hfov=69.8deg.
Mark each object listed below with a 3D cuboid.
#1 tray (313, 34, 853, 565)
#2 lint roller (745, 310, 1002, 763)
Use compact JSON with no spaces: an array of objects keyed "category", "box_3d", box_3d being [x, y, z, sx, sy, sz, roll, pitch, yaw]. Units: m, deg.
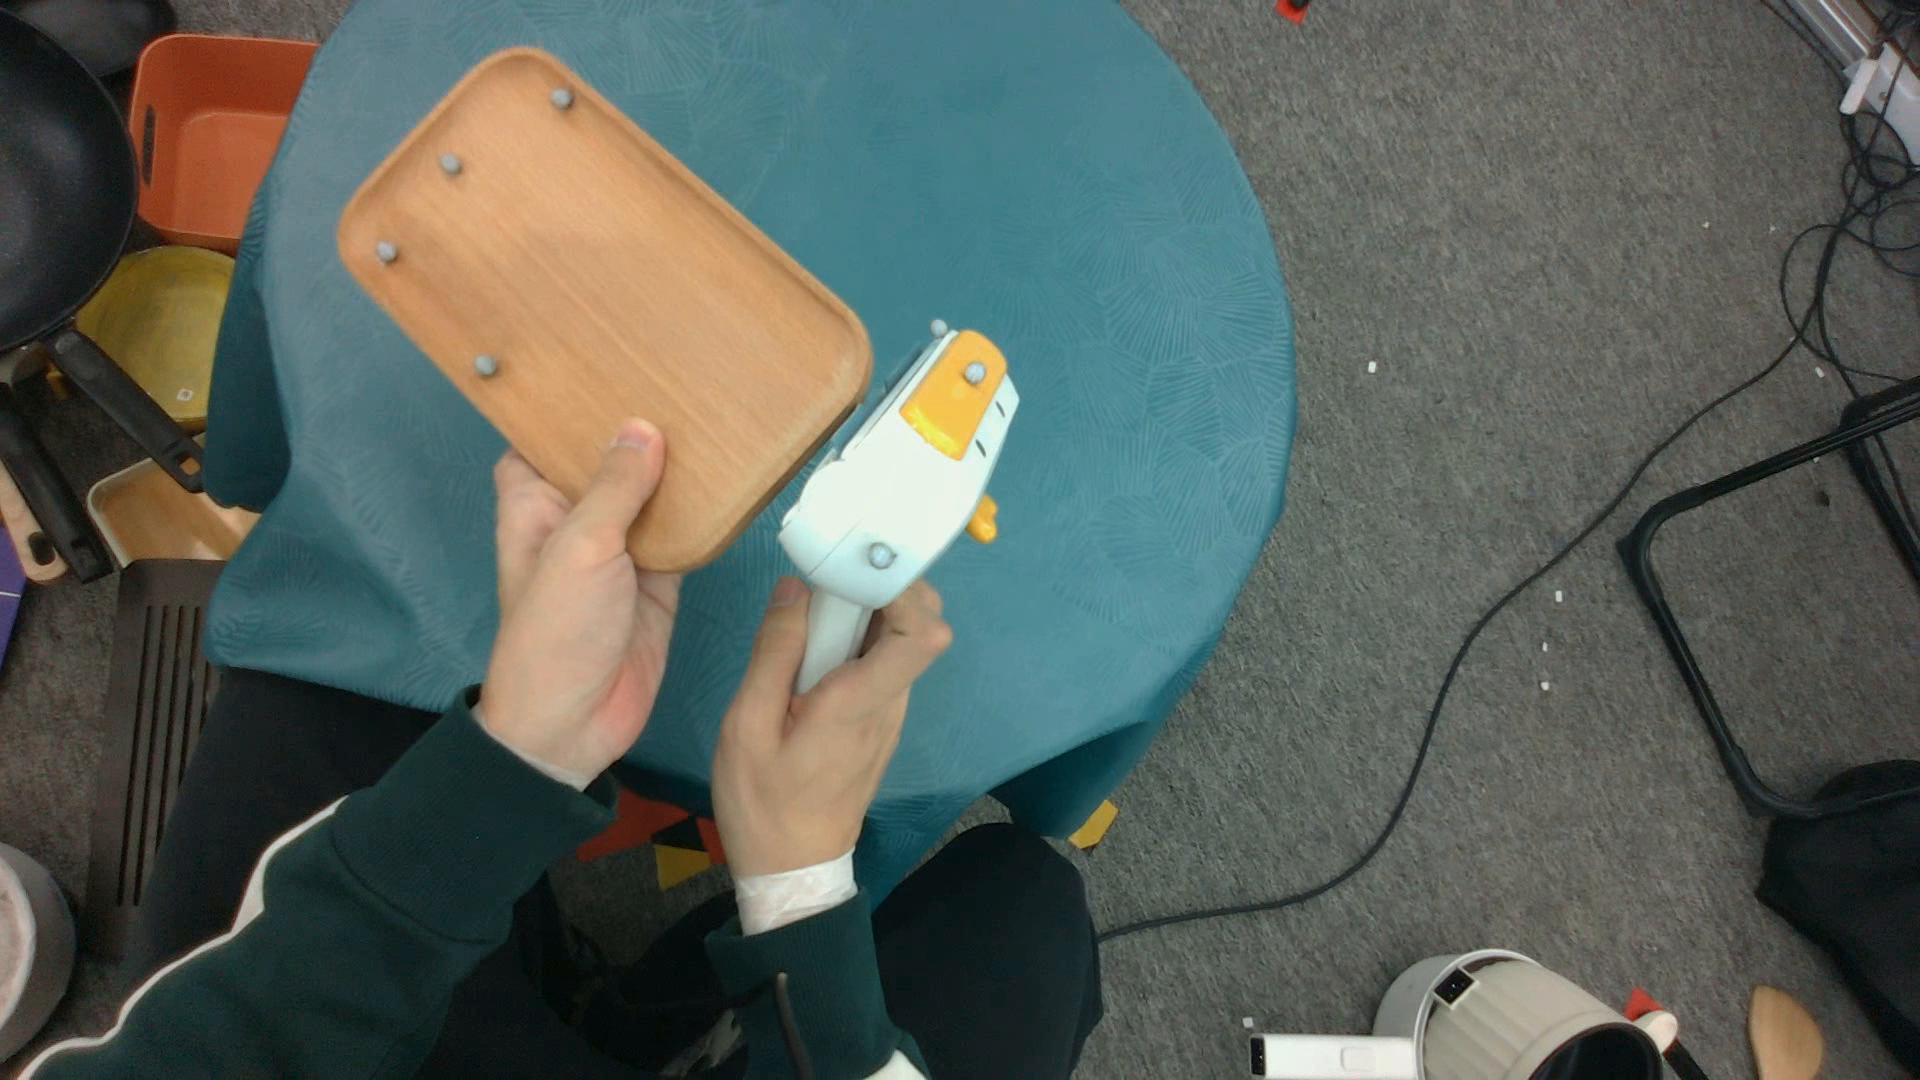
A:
[{"category":"tray","box_3d":[-0.157,-0.103,0.553,0.251,0.023,0.130,42,91,21]},{"category":"lint roller","box_3d":[-0.051,0.009,0.559,0.074,0.191,0.193,31,25,-10]}]
